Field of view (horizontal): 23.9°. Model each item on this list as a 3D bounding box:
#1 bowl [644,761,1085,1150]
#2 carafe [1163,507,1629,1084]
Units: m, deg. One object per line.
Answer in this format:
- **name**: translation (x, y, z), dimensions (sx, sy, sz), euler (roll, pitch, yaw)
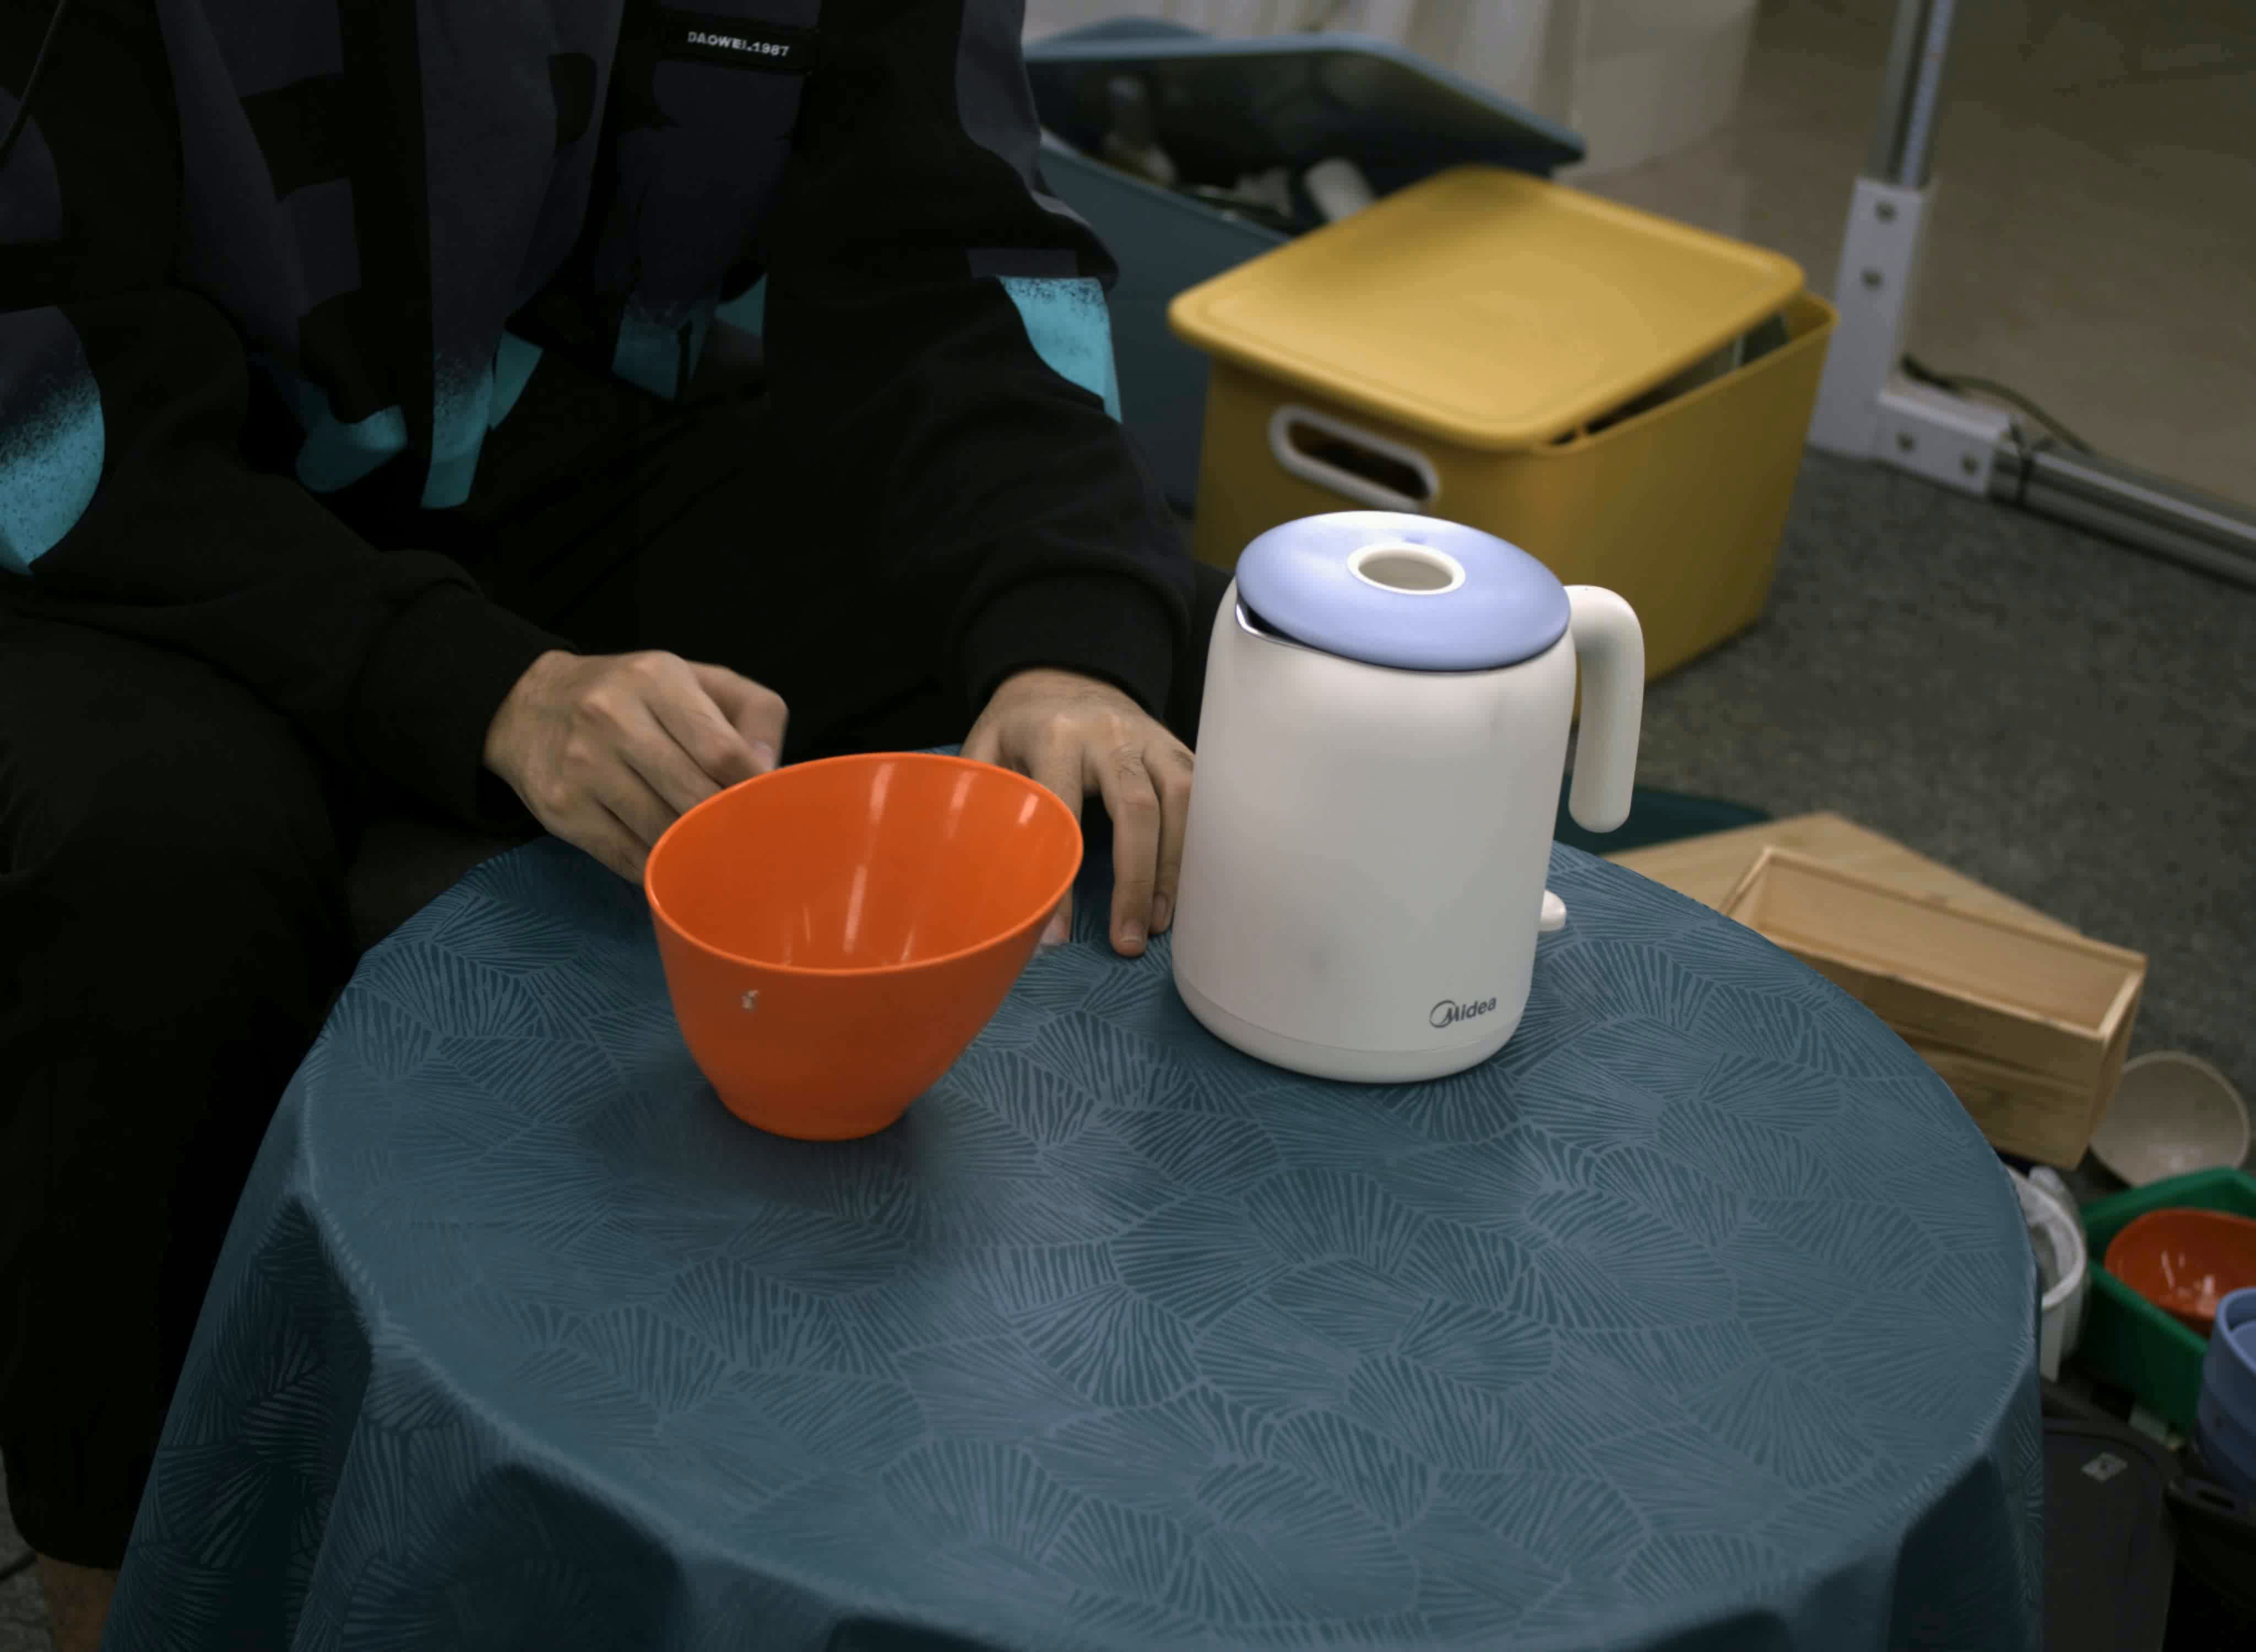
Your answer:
- **bowl**: translation (-0.093, 0.049, 1.814), dimensions (0.147, 0.104, 0.149), euler (5, 27, -3)
- **carafe**: translation (0.106, -0.015, 1.908), dimensions (0.190, 0.182, 0.133), euler (-11, 32, -35)
